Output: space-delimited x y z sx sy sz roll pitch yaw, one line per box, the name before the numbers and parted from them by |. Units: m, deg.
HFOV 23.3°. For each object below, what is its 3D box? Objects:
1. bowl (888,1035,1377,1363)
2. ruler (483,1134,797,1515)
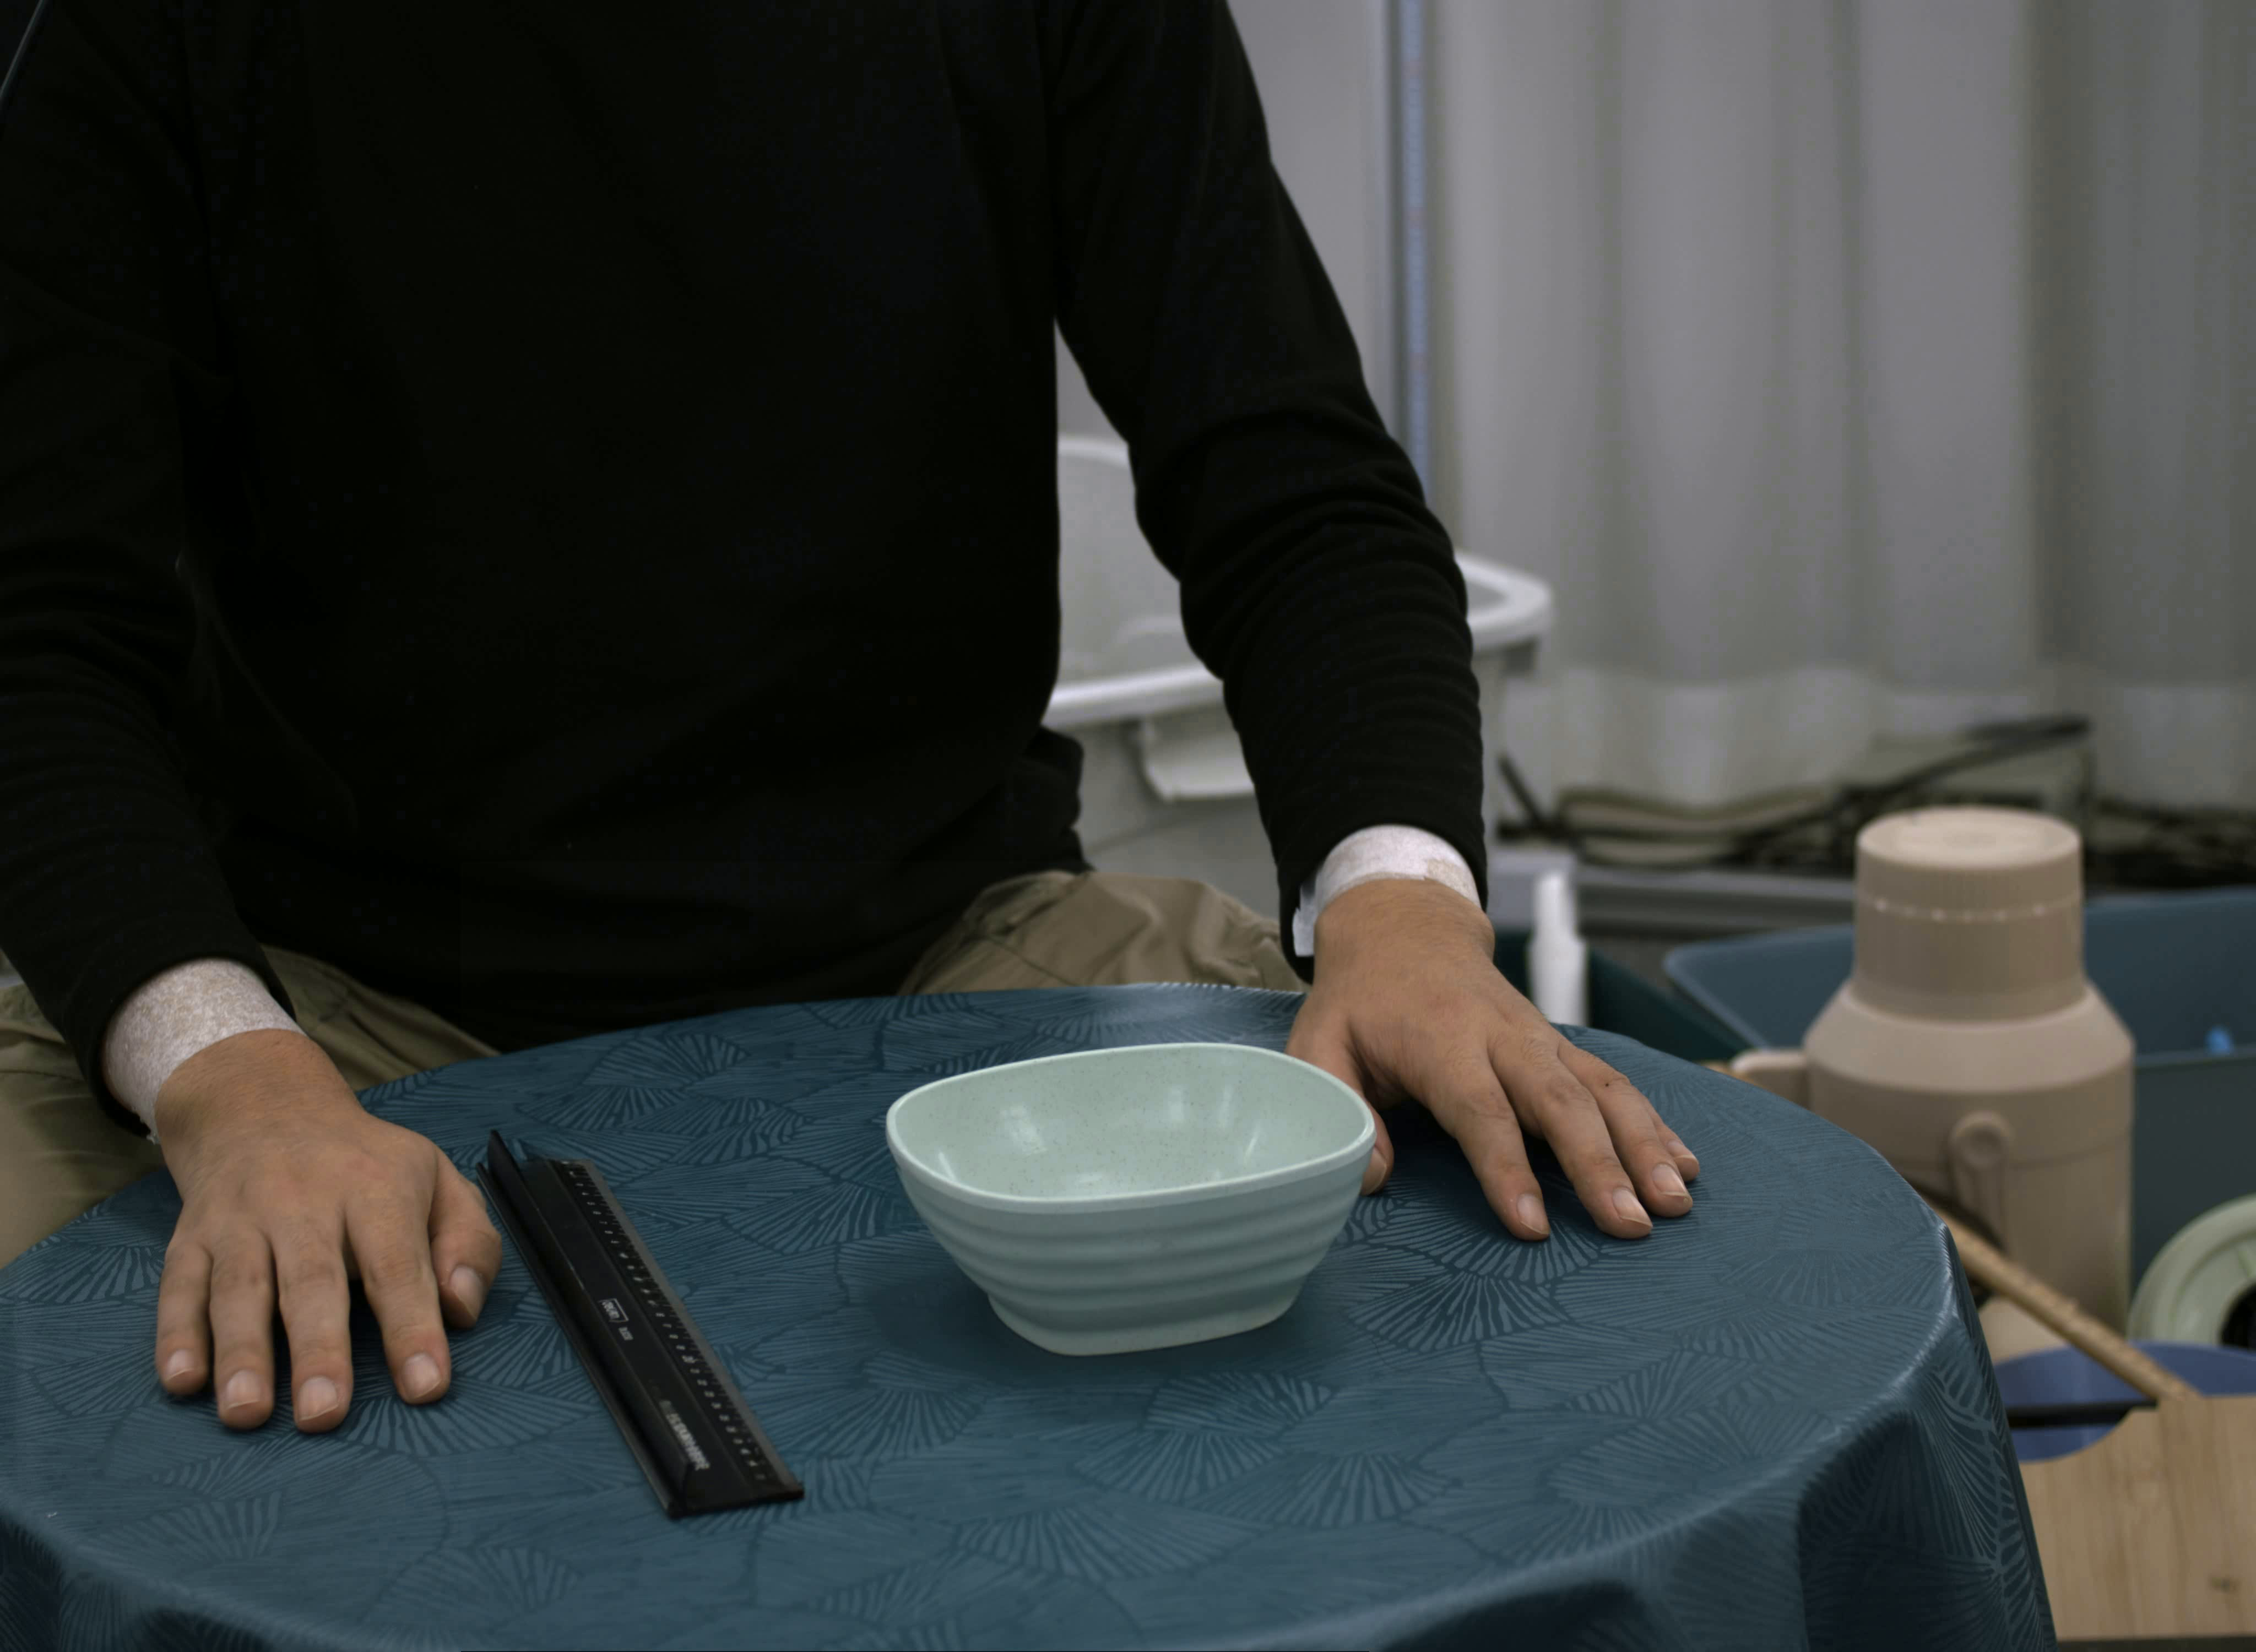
bowl | 0.002 0.113 1.611 0.151 0.058 0.152 -3 17 1
ruler | -0.147 0.141 1.615 0.039 0.017 0.315 -3 14 -15
